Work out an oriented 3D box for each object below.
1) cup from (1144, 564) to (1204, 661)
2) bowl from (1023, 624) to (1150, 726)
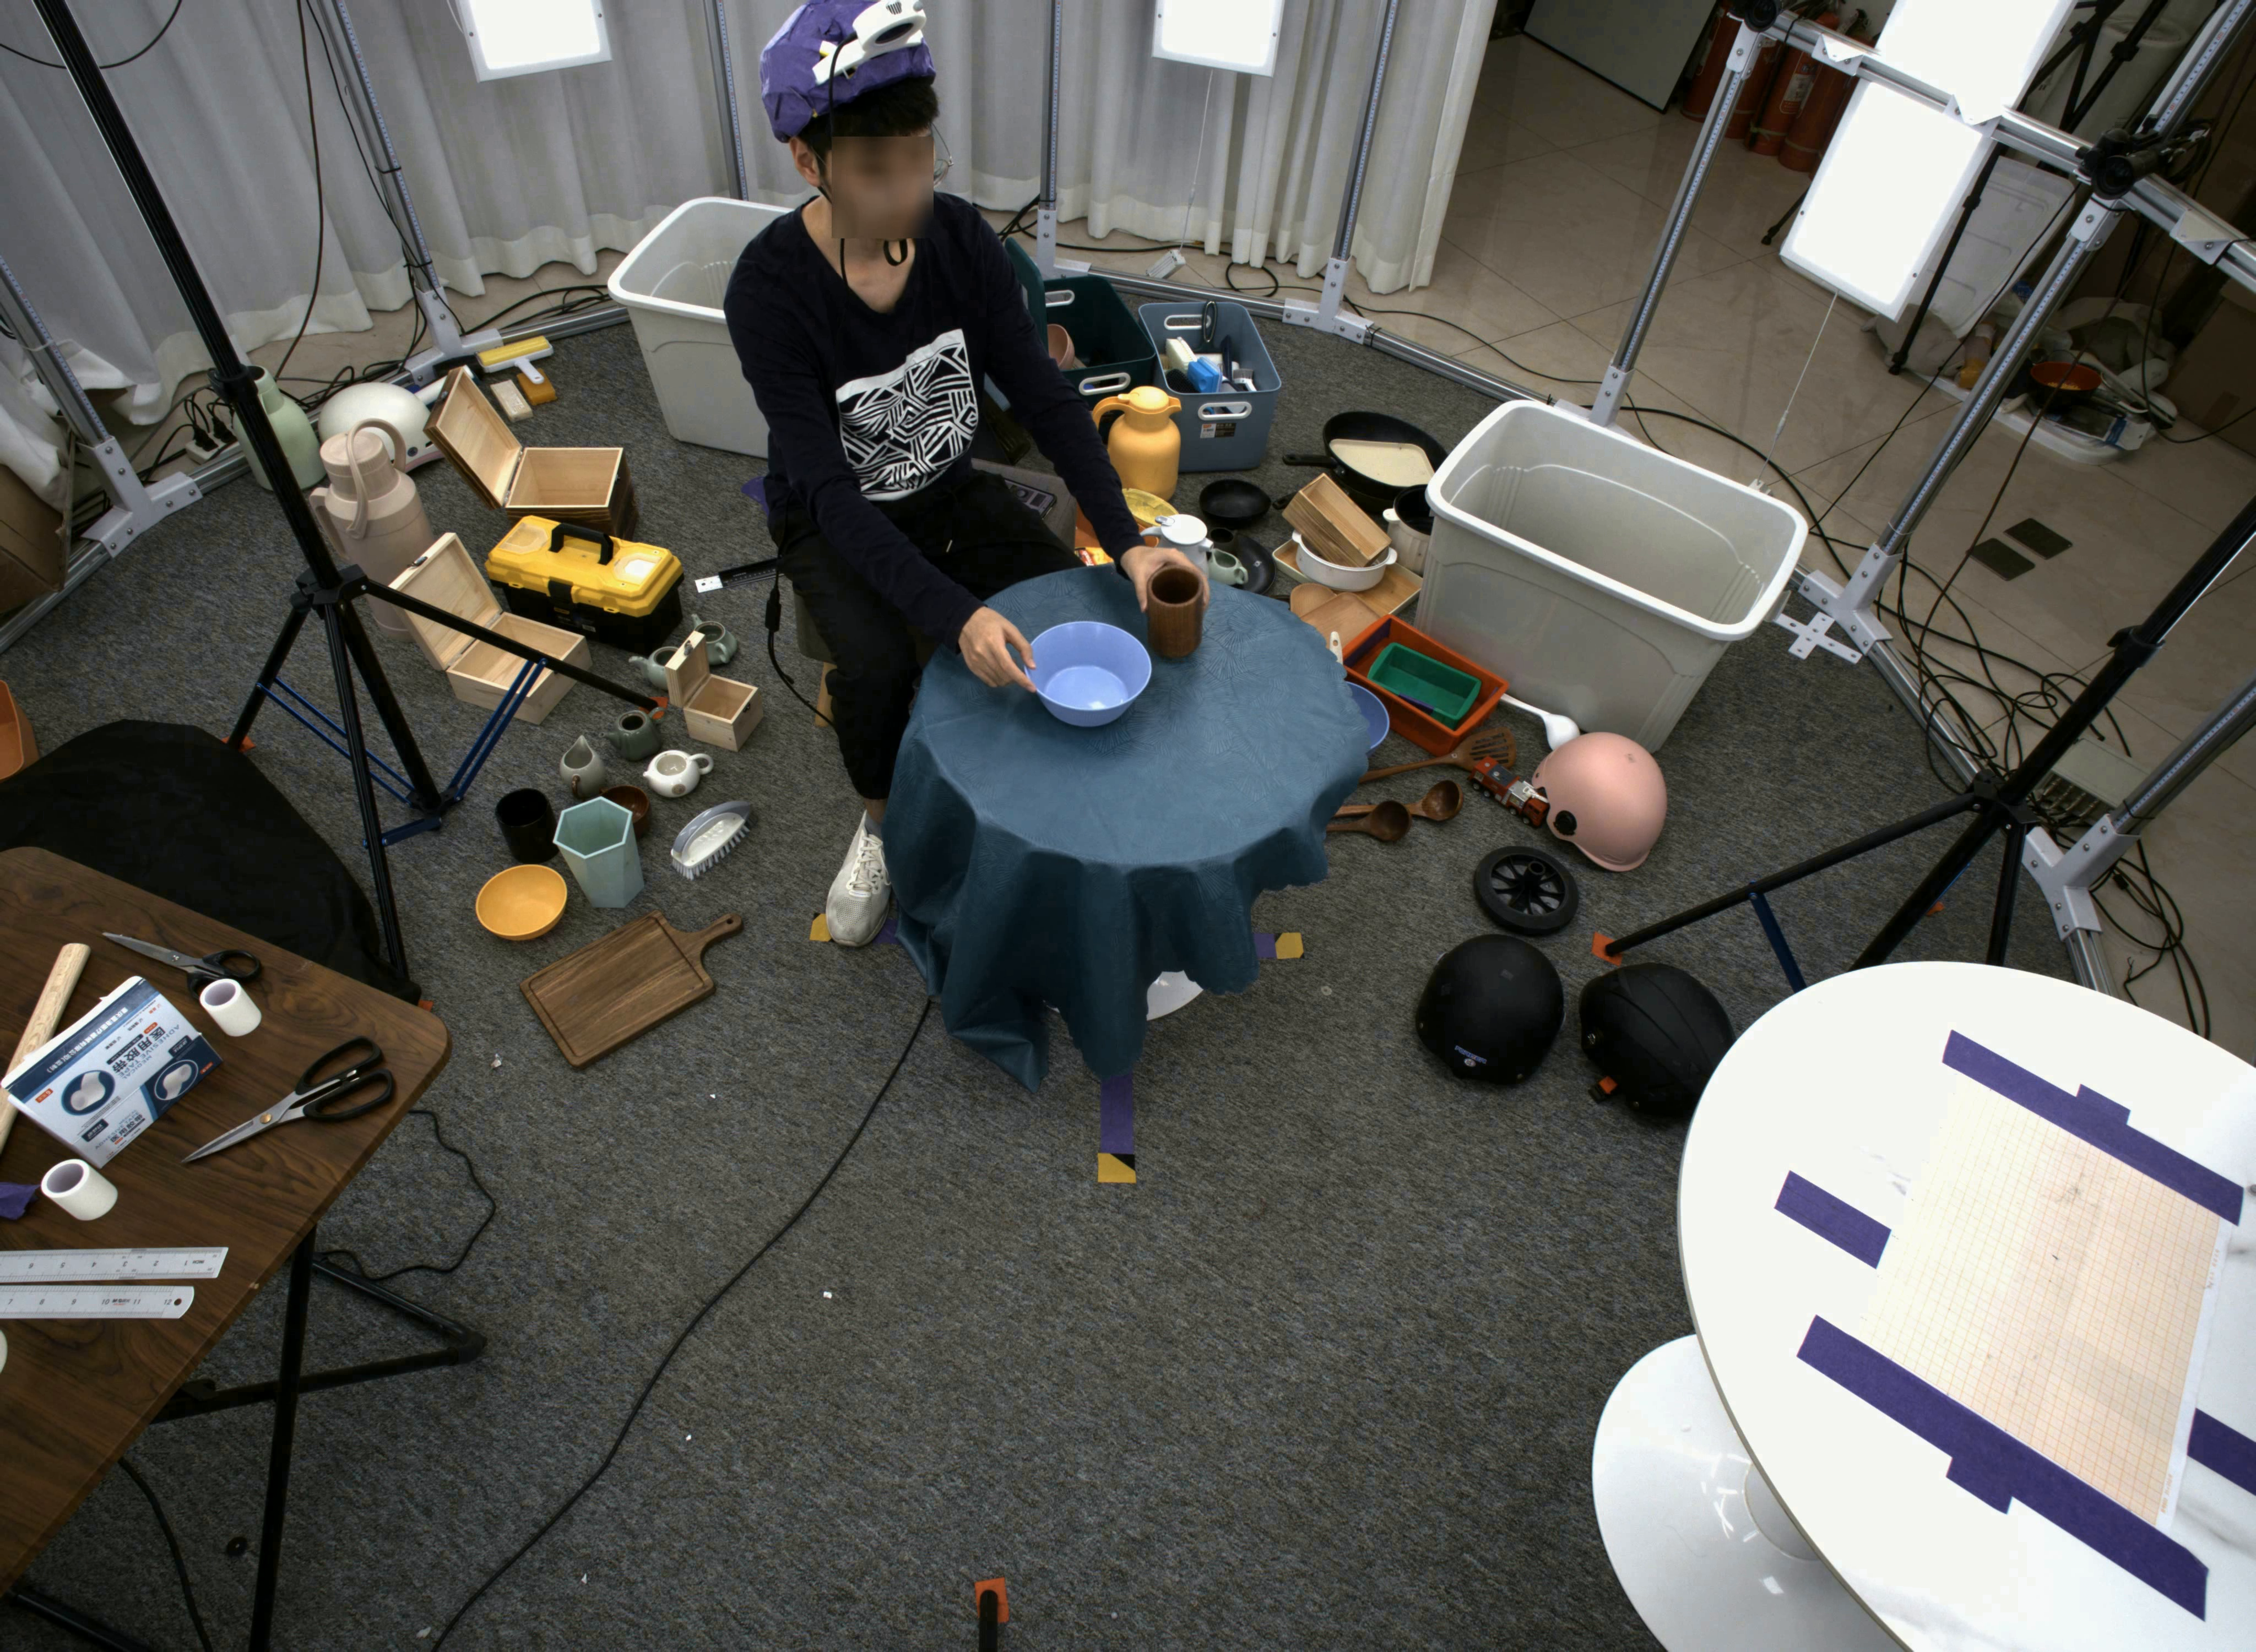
[{"bbox_3d":[0.067,-0.304,1.839,0.087,0.115,0.090,-1,55,1],"label":"cup"},{"bbox_3d":[-0.058,-0.203,1.795,0.176,0.068,0.180,2,48,-2],"label":"bowl"}]
